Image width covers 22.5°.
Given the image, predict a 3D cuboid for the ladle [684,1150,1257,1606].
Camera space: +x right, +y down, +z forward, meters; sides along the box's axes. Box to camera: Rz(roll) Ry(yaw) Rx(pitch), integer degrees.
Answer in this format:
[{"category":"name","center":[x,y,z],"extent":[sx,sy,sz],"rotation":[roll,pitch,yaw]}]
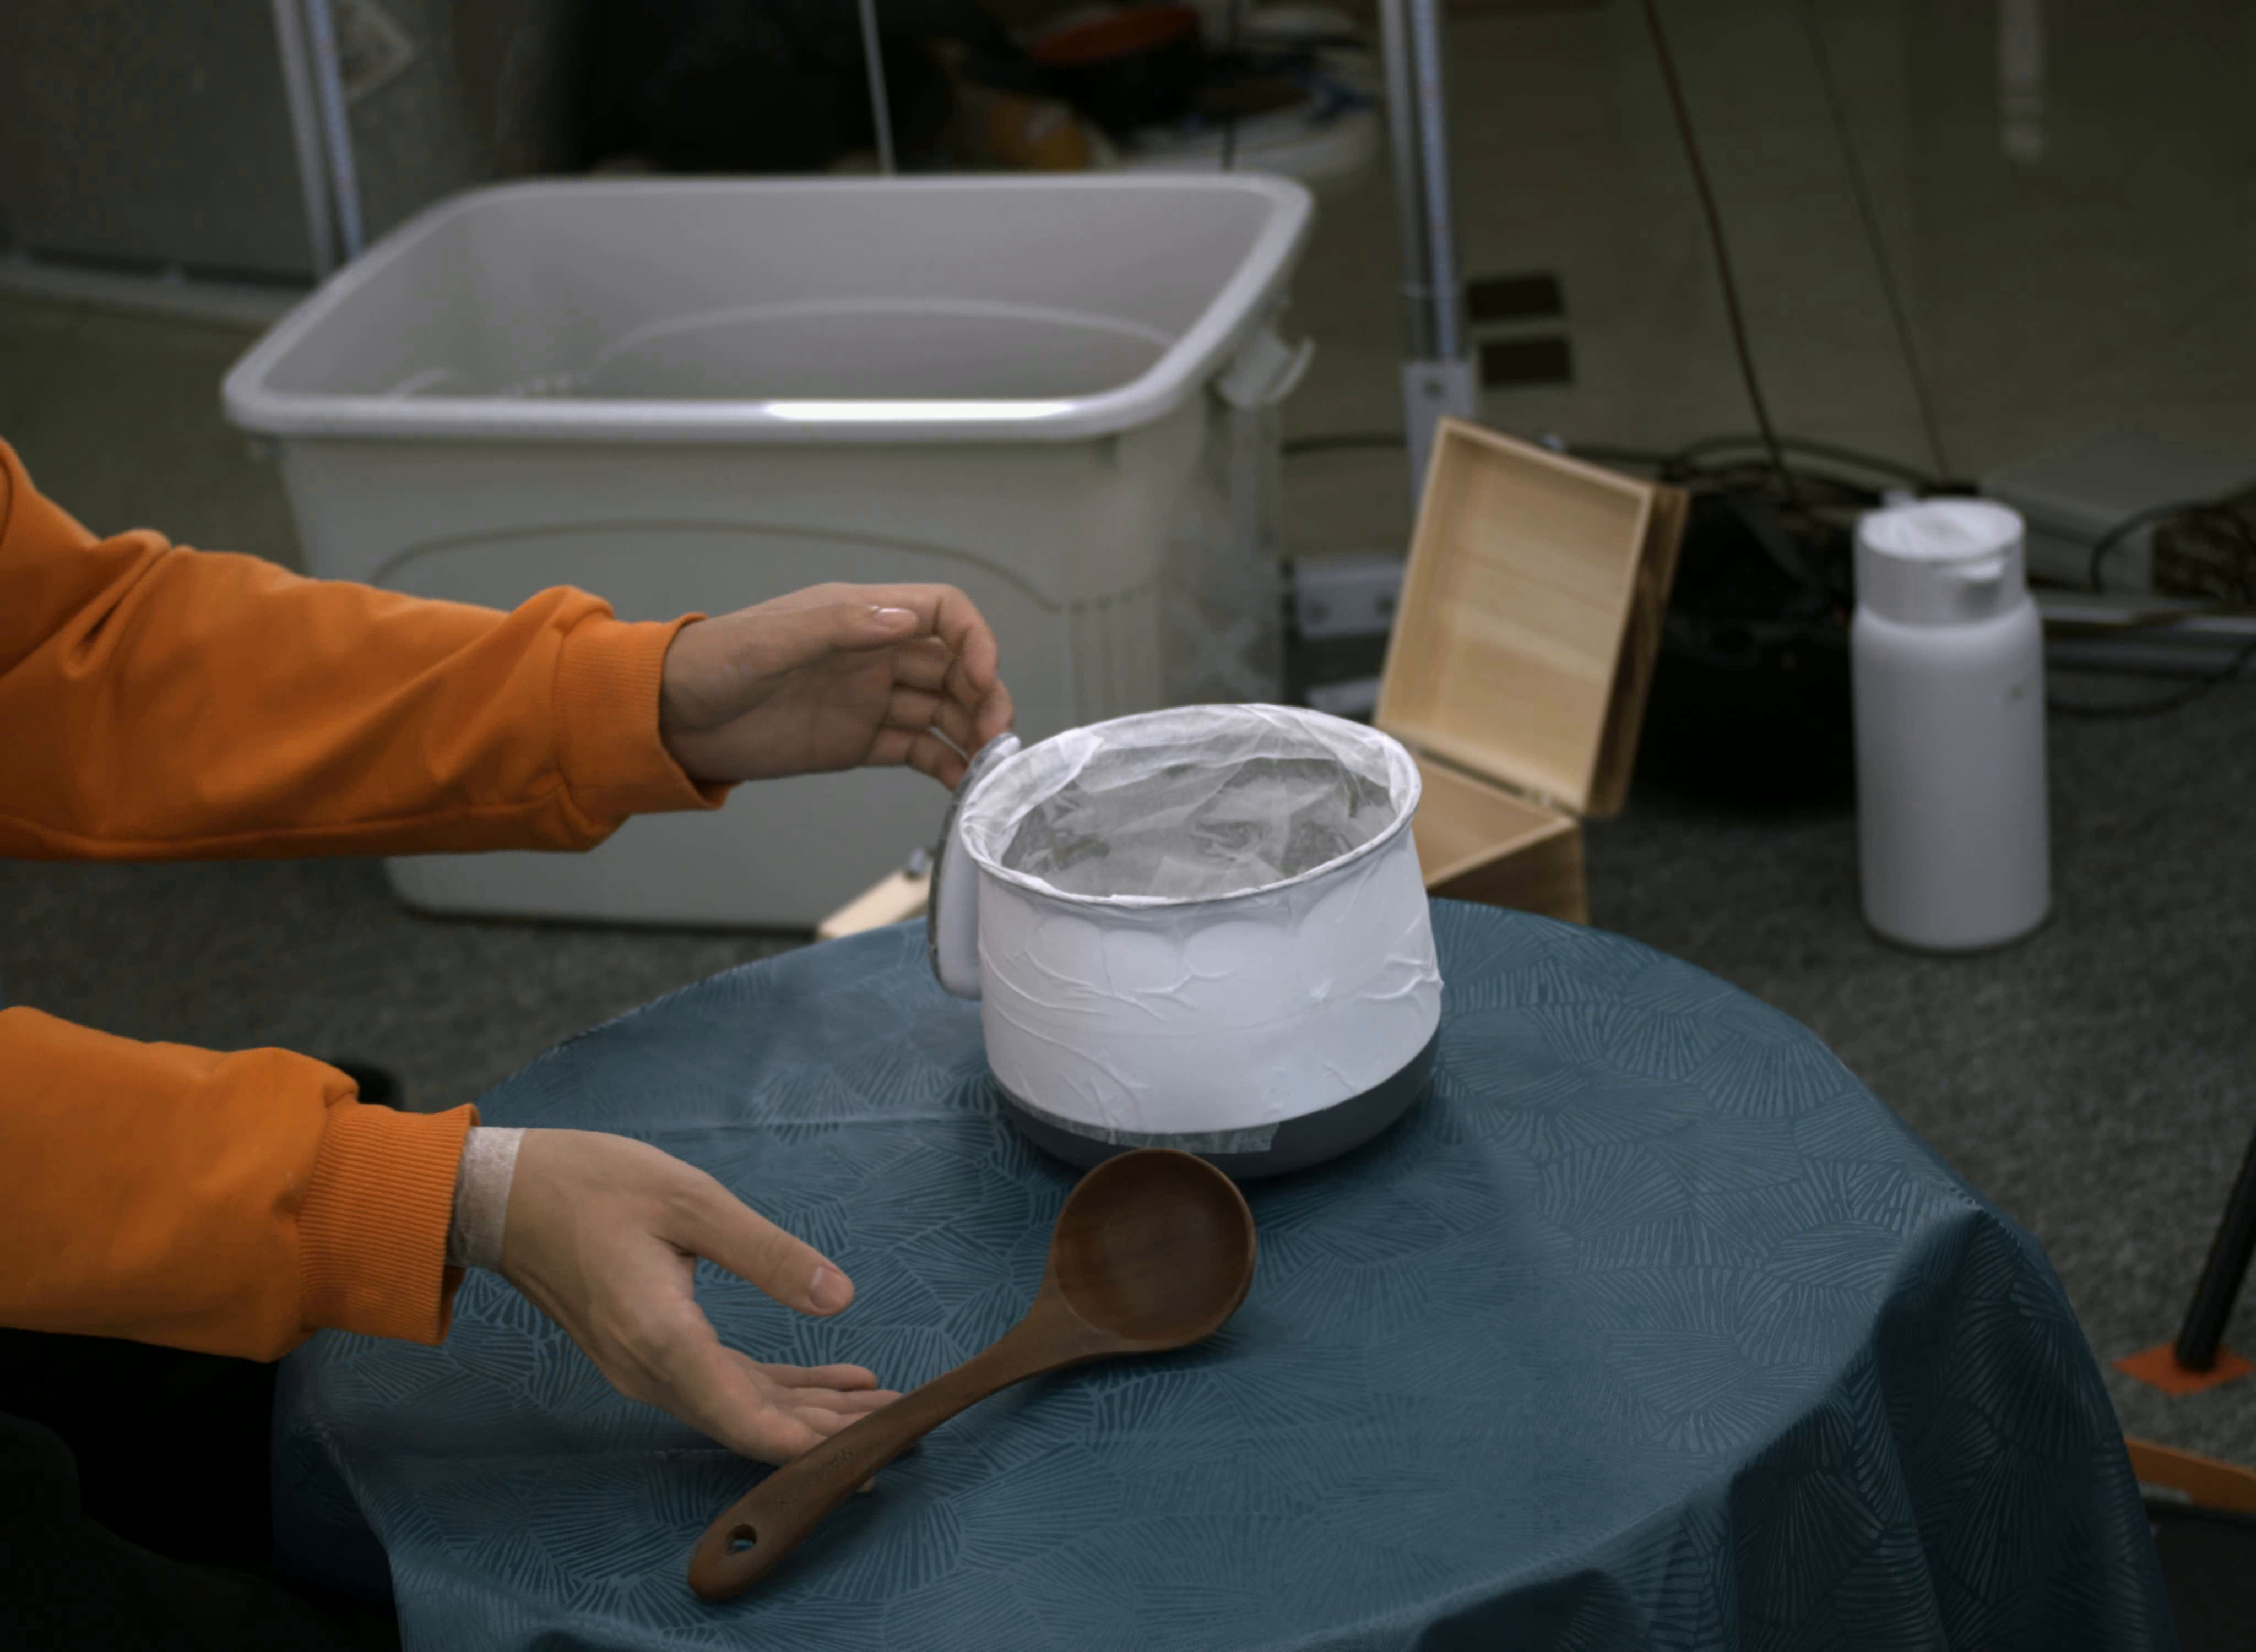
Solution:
[{"category":"ladle","center":[-0.055,0.191,1.978],"extent":[0.076,0.066,0.258],"rotation":[40,45,24]}]

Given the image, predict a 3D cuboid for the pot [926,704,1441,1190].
[{"category":"pot","center":[0.009,0.041,2.189],"extent":[0.232,0.139,0.177],"rotation":[16,33,39]}]
